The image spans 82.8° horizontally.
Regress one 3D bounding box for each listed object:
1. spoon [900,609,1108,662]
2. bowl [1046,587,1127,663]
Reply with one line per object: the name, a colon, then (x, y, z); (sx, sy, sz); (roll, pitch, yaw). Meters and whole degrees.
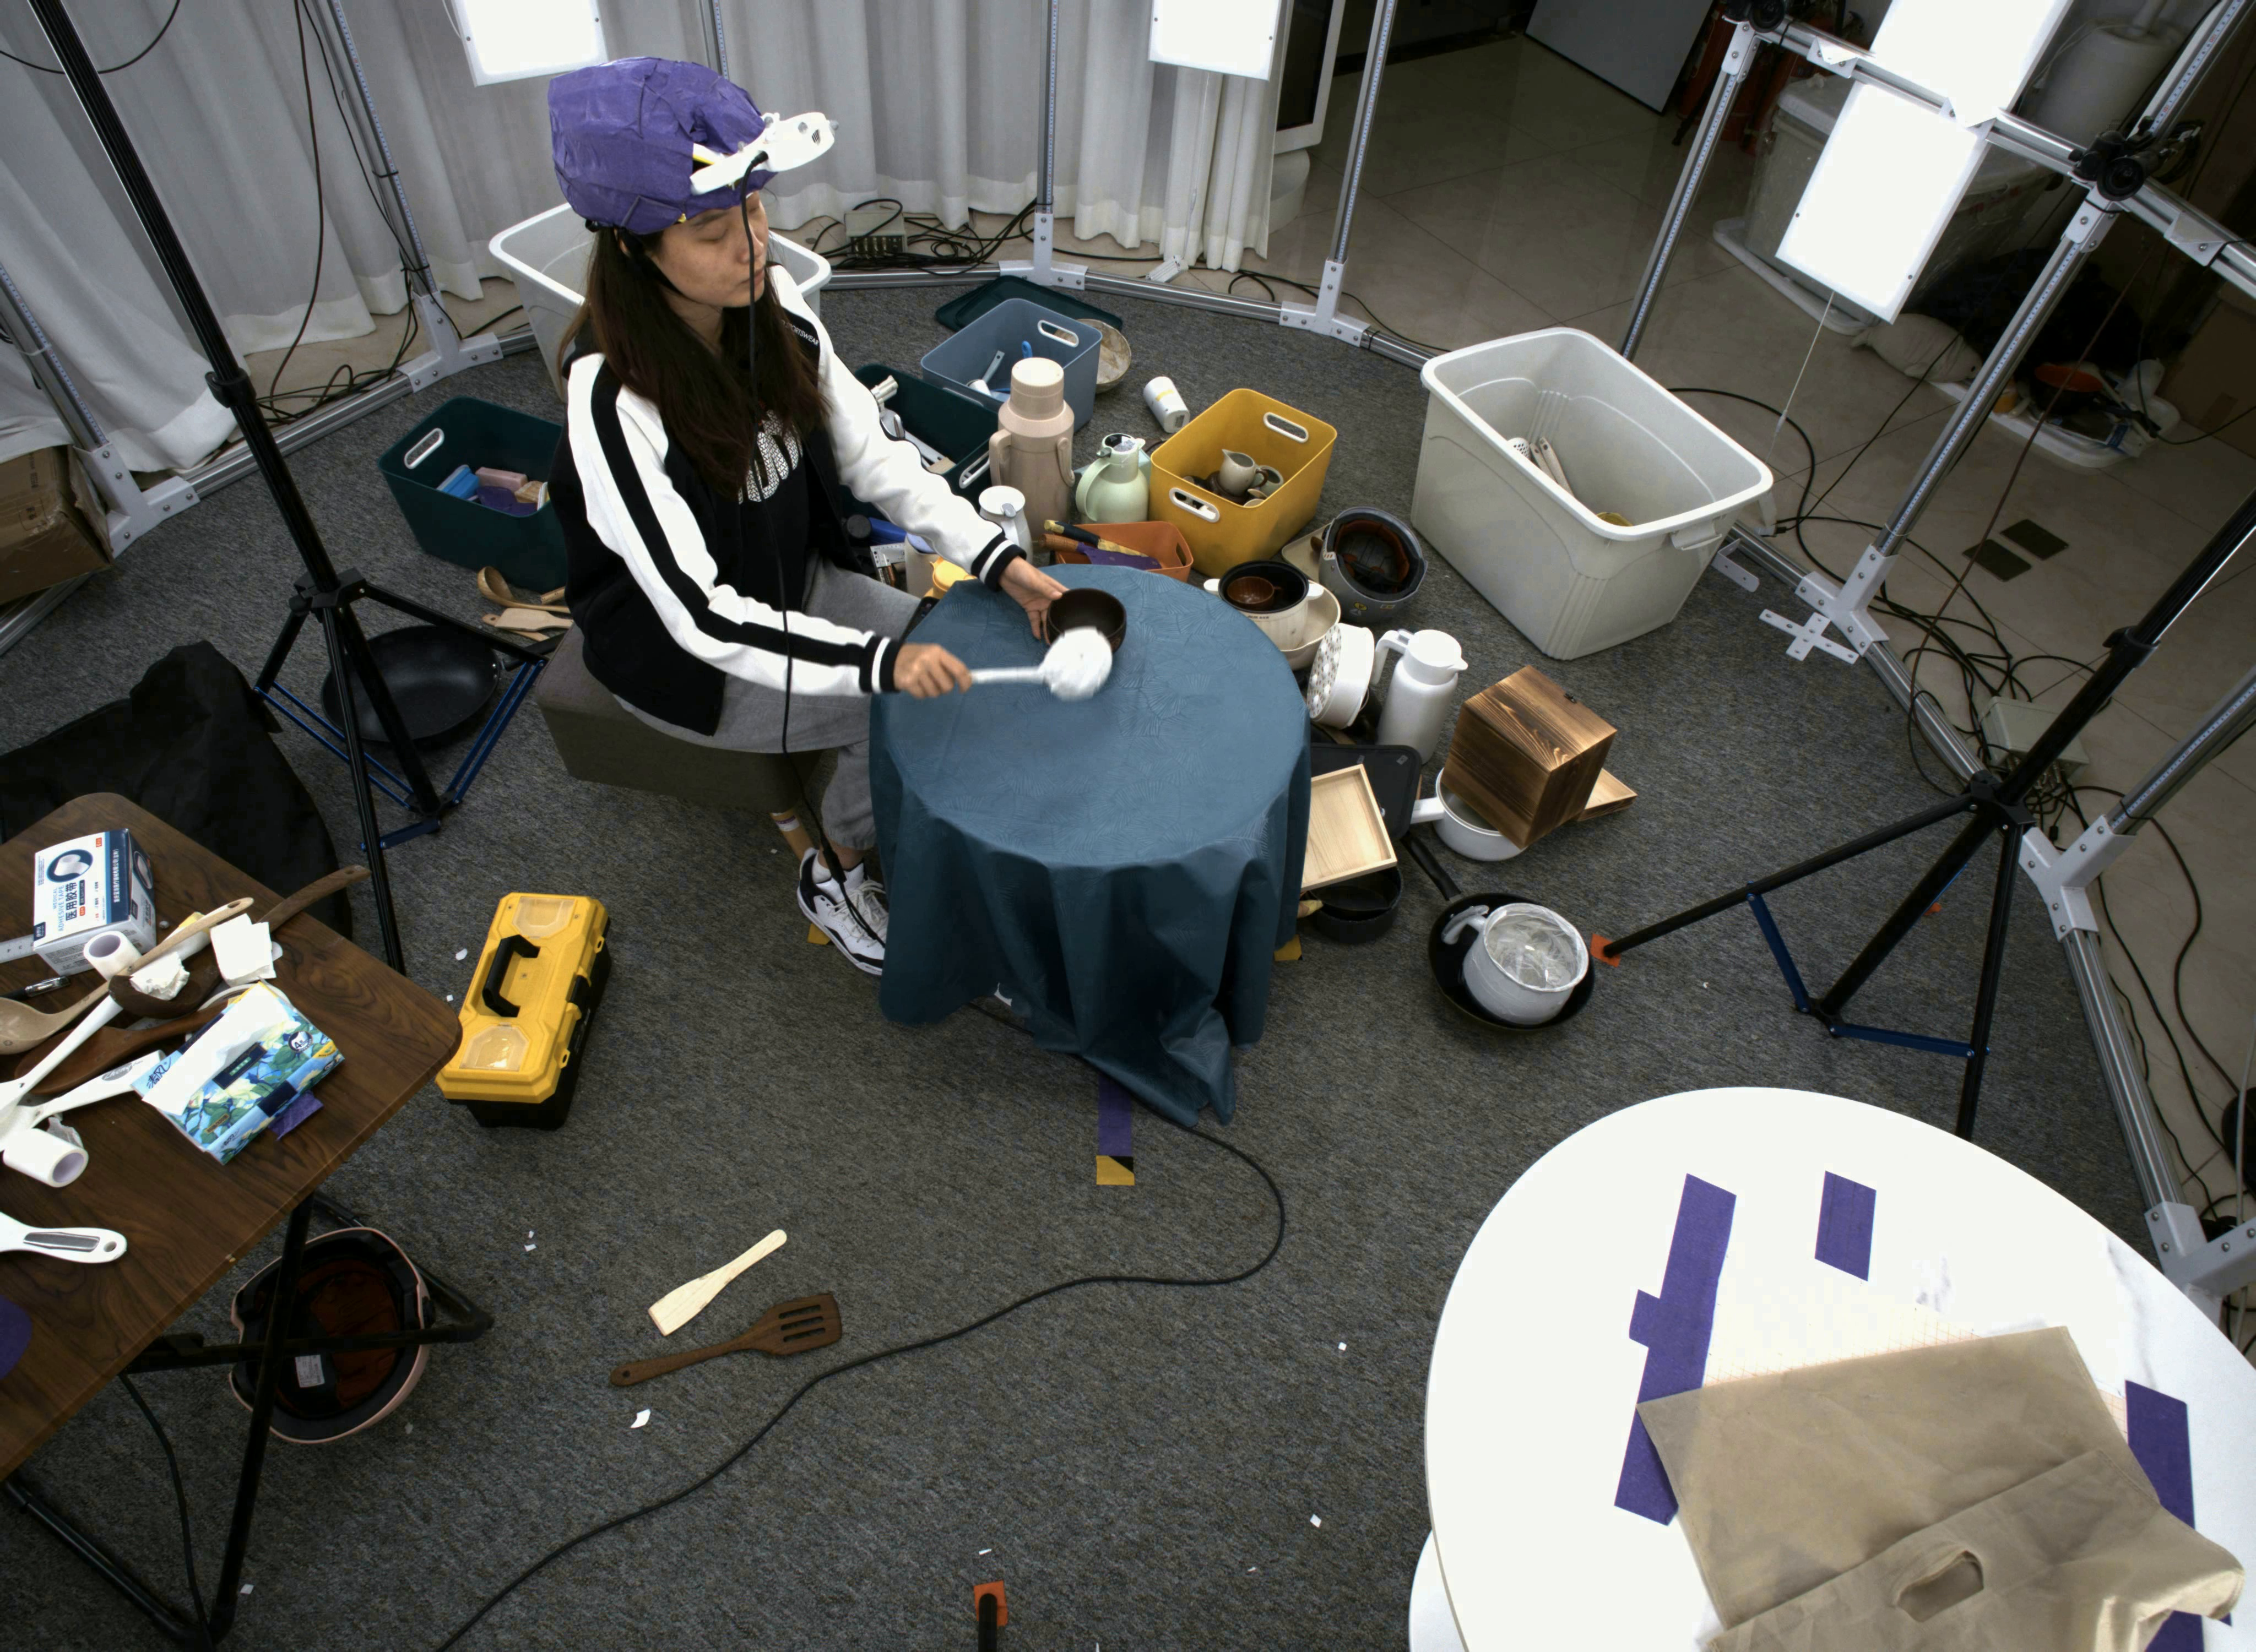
spoon: (-0.163, -0.249, 1.694); (0.278, 0.098, 0.060); (2, 65, 14)
bowl: (-0.061, -0.283, 1.864); (0.118, 0.068, 0.121); (2, 49, -2)
